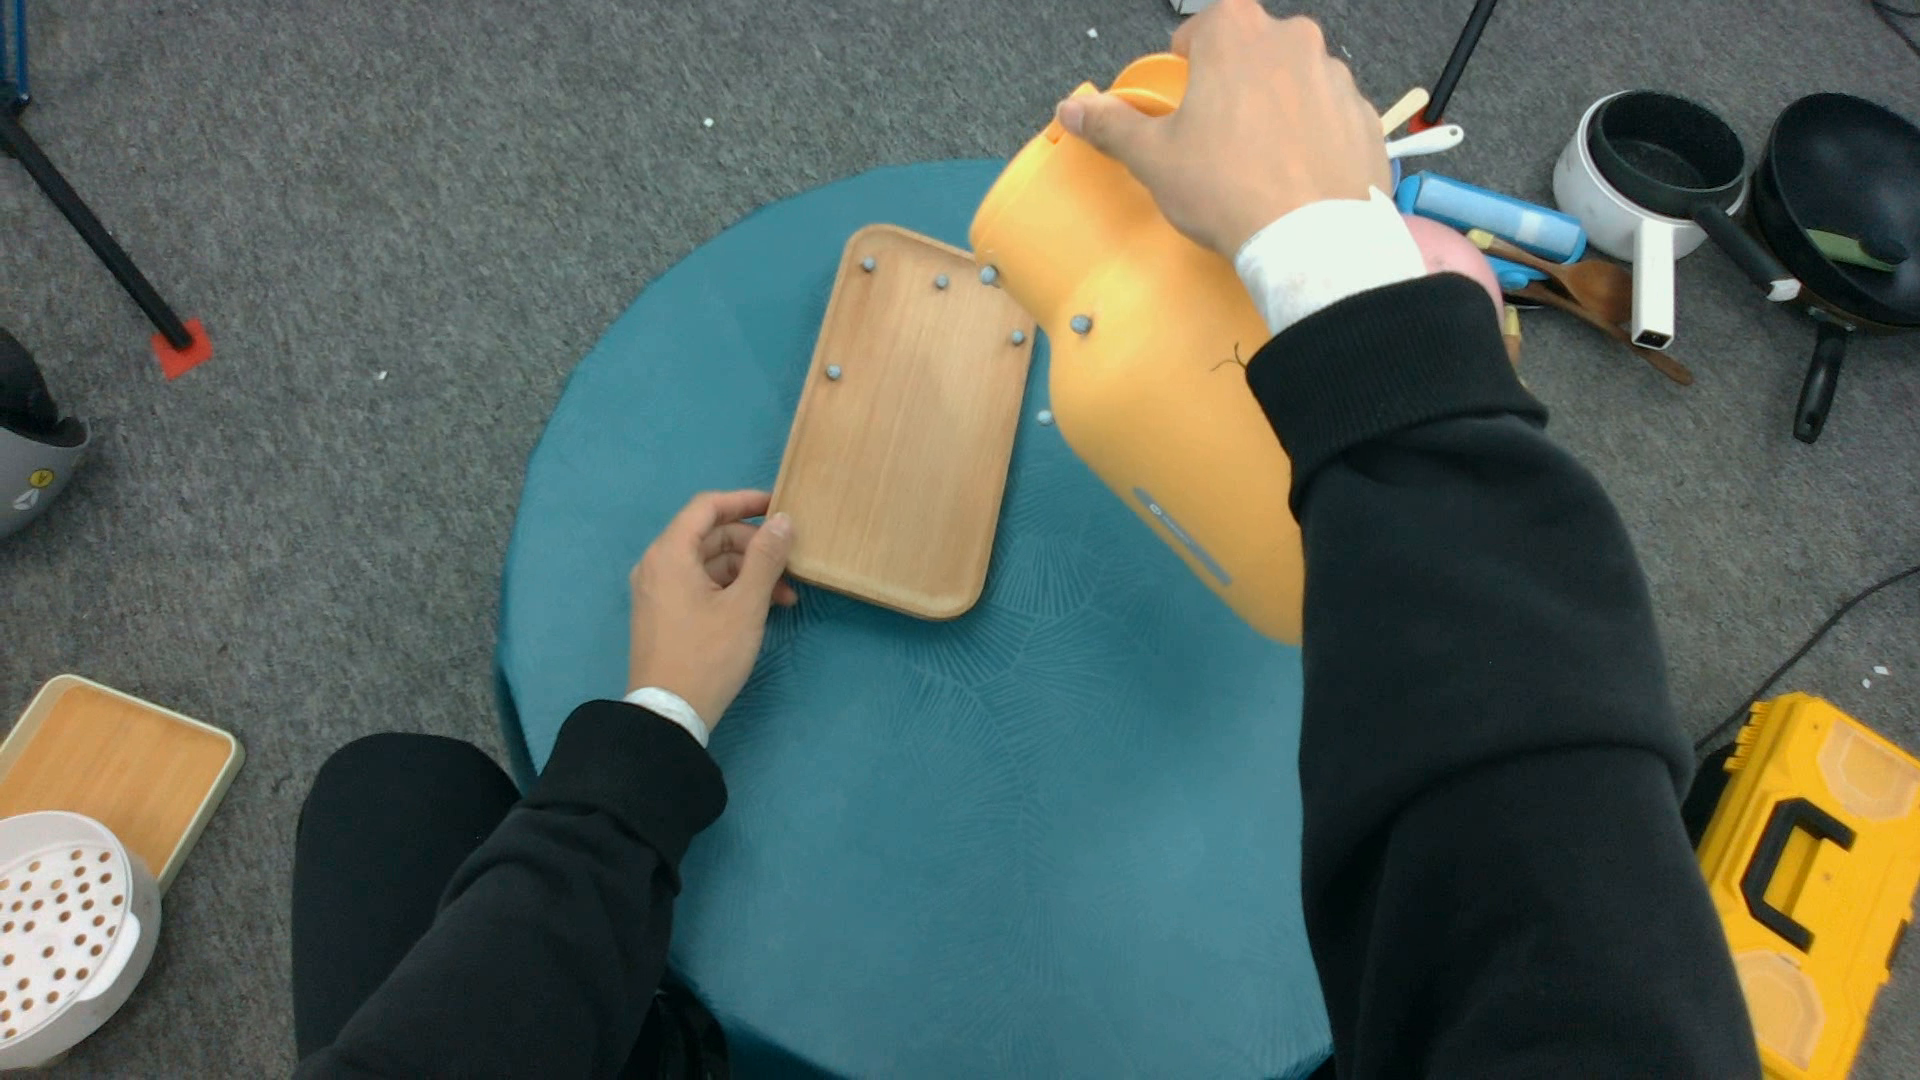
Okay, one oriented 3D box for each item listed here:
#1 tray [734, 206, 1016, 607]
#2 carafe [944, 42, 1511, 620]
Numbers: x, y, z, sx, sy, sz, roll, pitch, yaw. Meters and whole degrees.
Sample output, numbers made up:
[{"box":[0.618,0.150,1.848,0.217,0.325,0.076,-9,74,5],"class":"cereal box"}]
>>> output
[{"box":[-0.044,-0.083,0.804,0.130,0.023,0.252,18,62,-9],"class":"tray"},{"box":[0.116,-0.099,0.620,0.260,0.201,0.164,41,71,0],"class":"carafe"}]
